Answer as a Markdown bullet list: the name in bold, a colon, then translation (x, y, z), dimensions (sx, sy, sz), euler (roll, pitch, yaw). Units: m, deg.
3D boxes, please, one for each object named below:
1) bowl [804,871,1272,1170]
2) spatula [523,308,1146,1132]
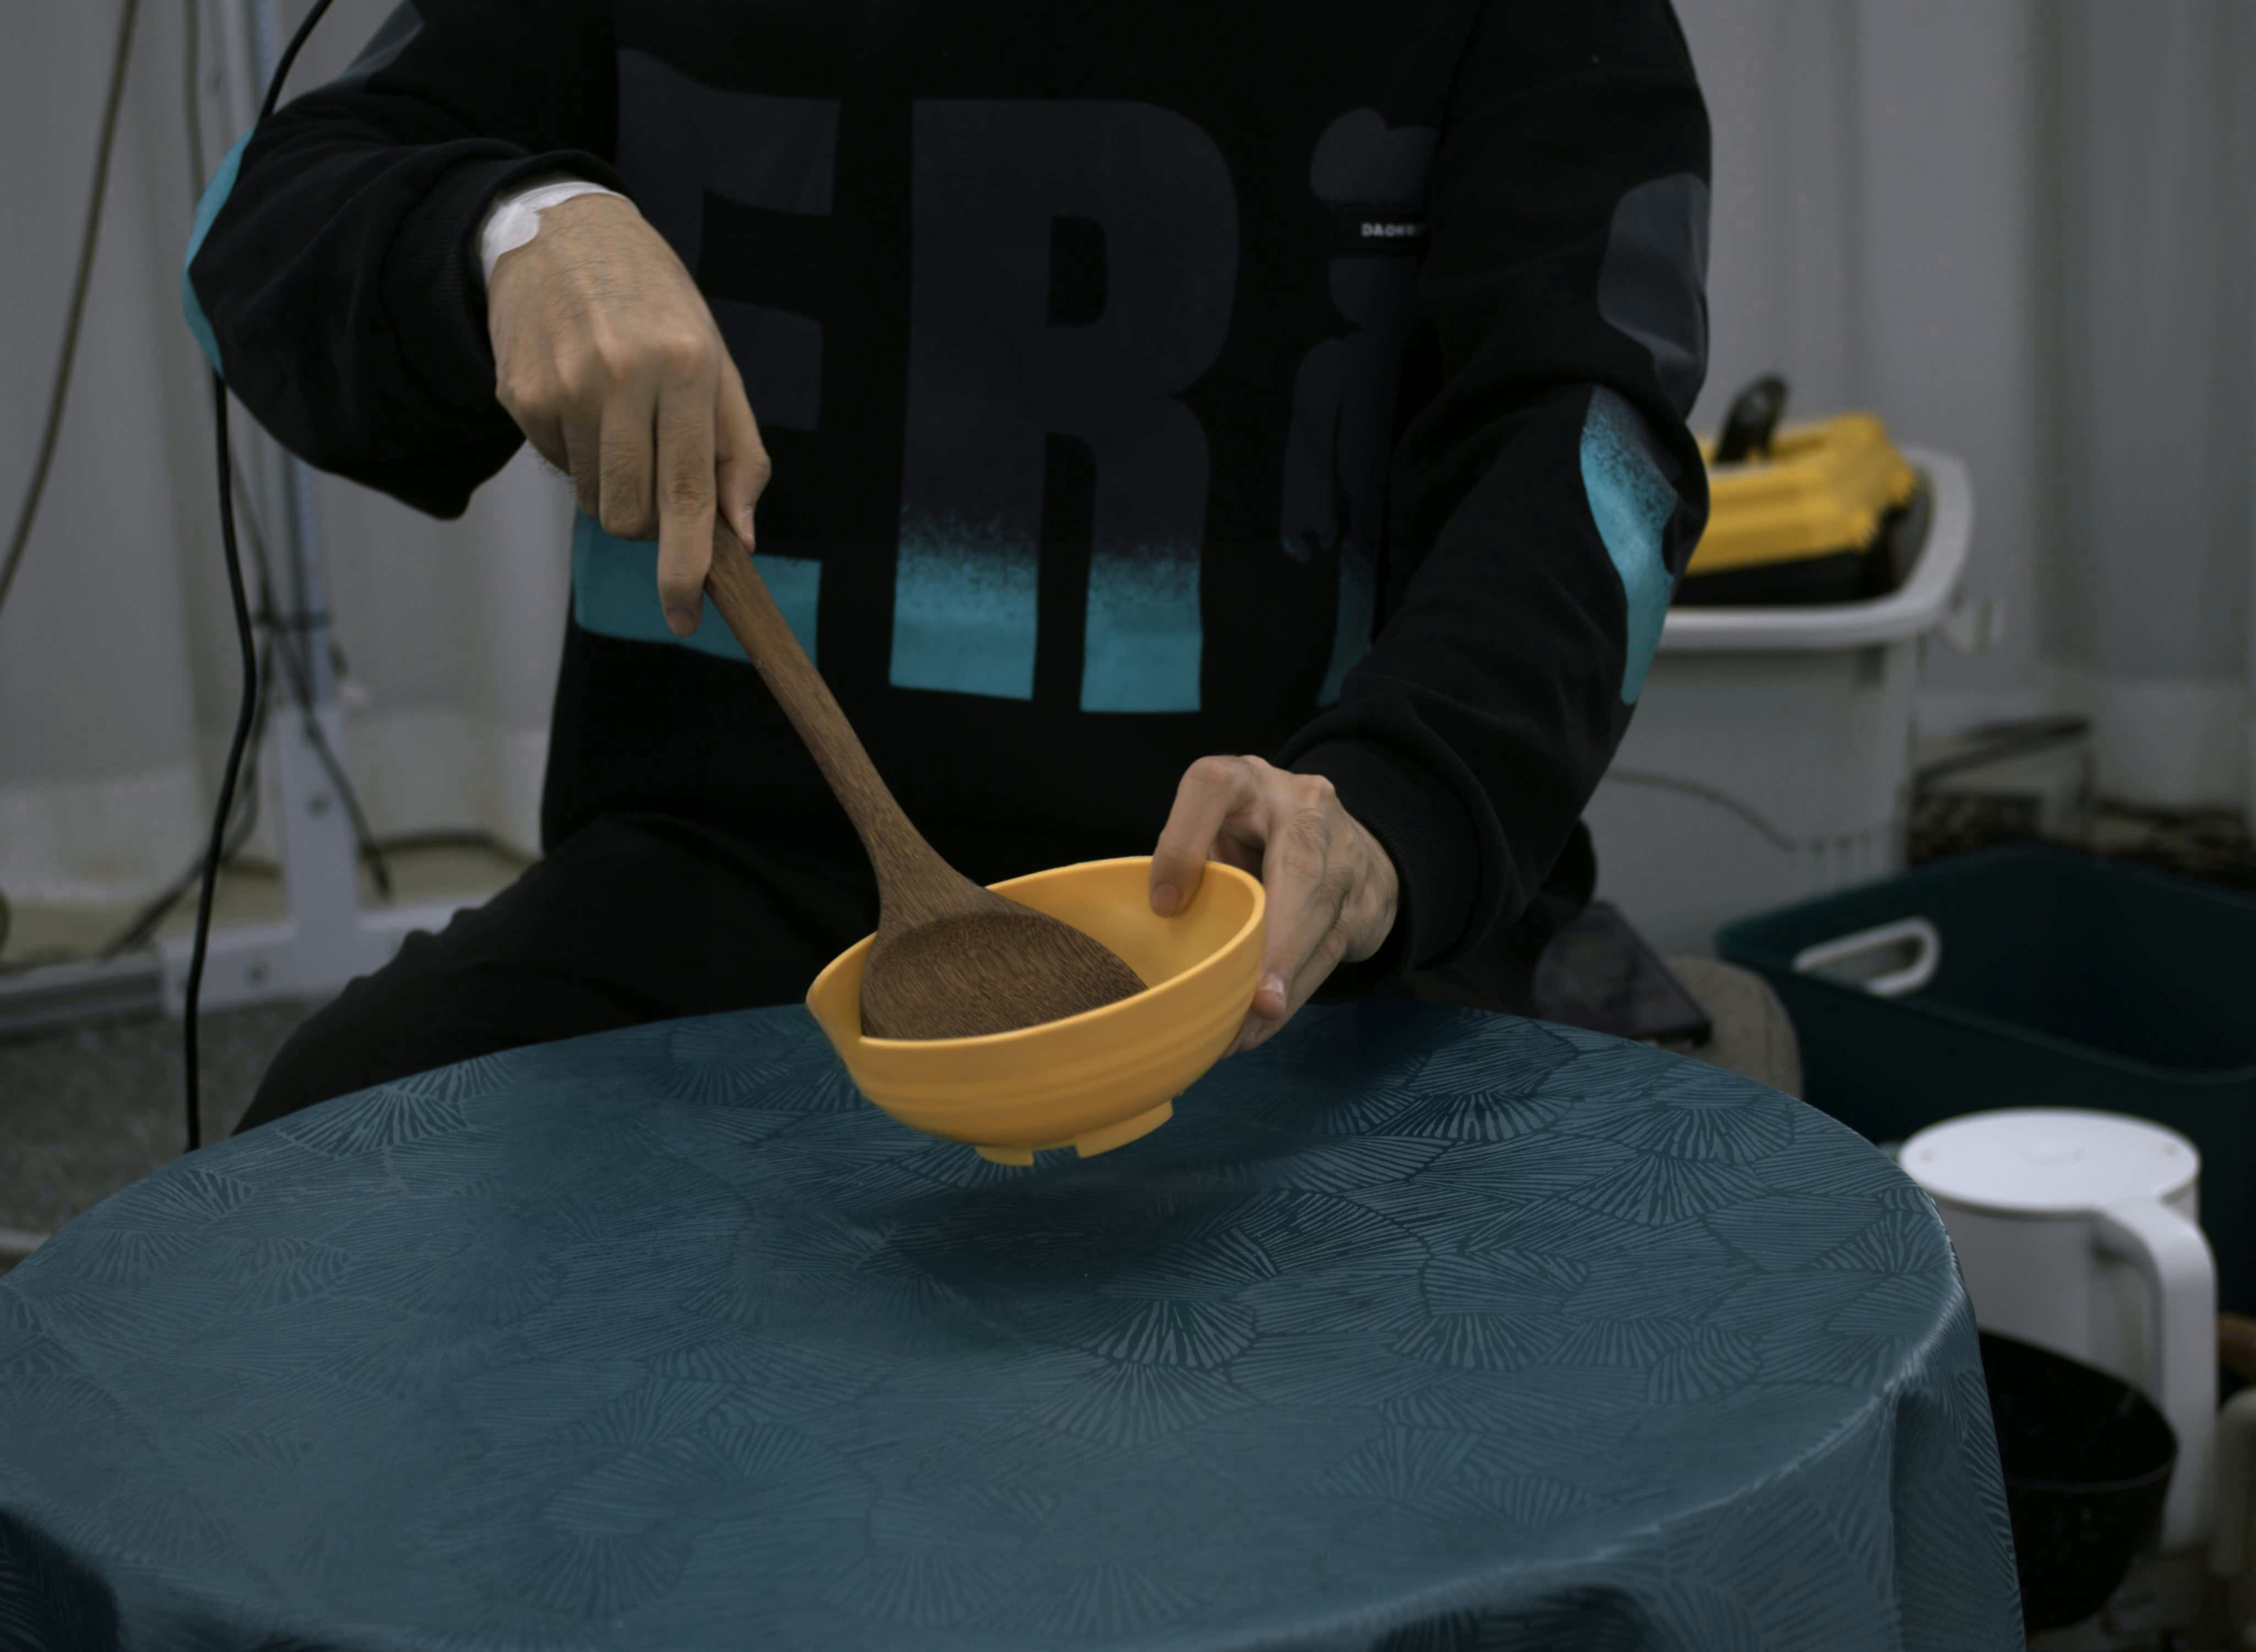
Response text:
- **bowl**: translation (-0.023, 0.065, 1.667), dimensions (0.145, 0.060, 0.146), euler (-10, 16, 2)
- **spatula**: translation (-0.107, -0.044, 1.757), dimensions (0.096, 0.015, 0.391), euler (-14, 51, -28)
